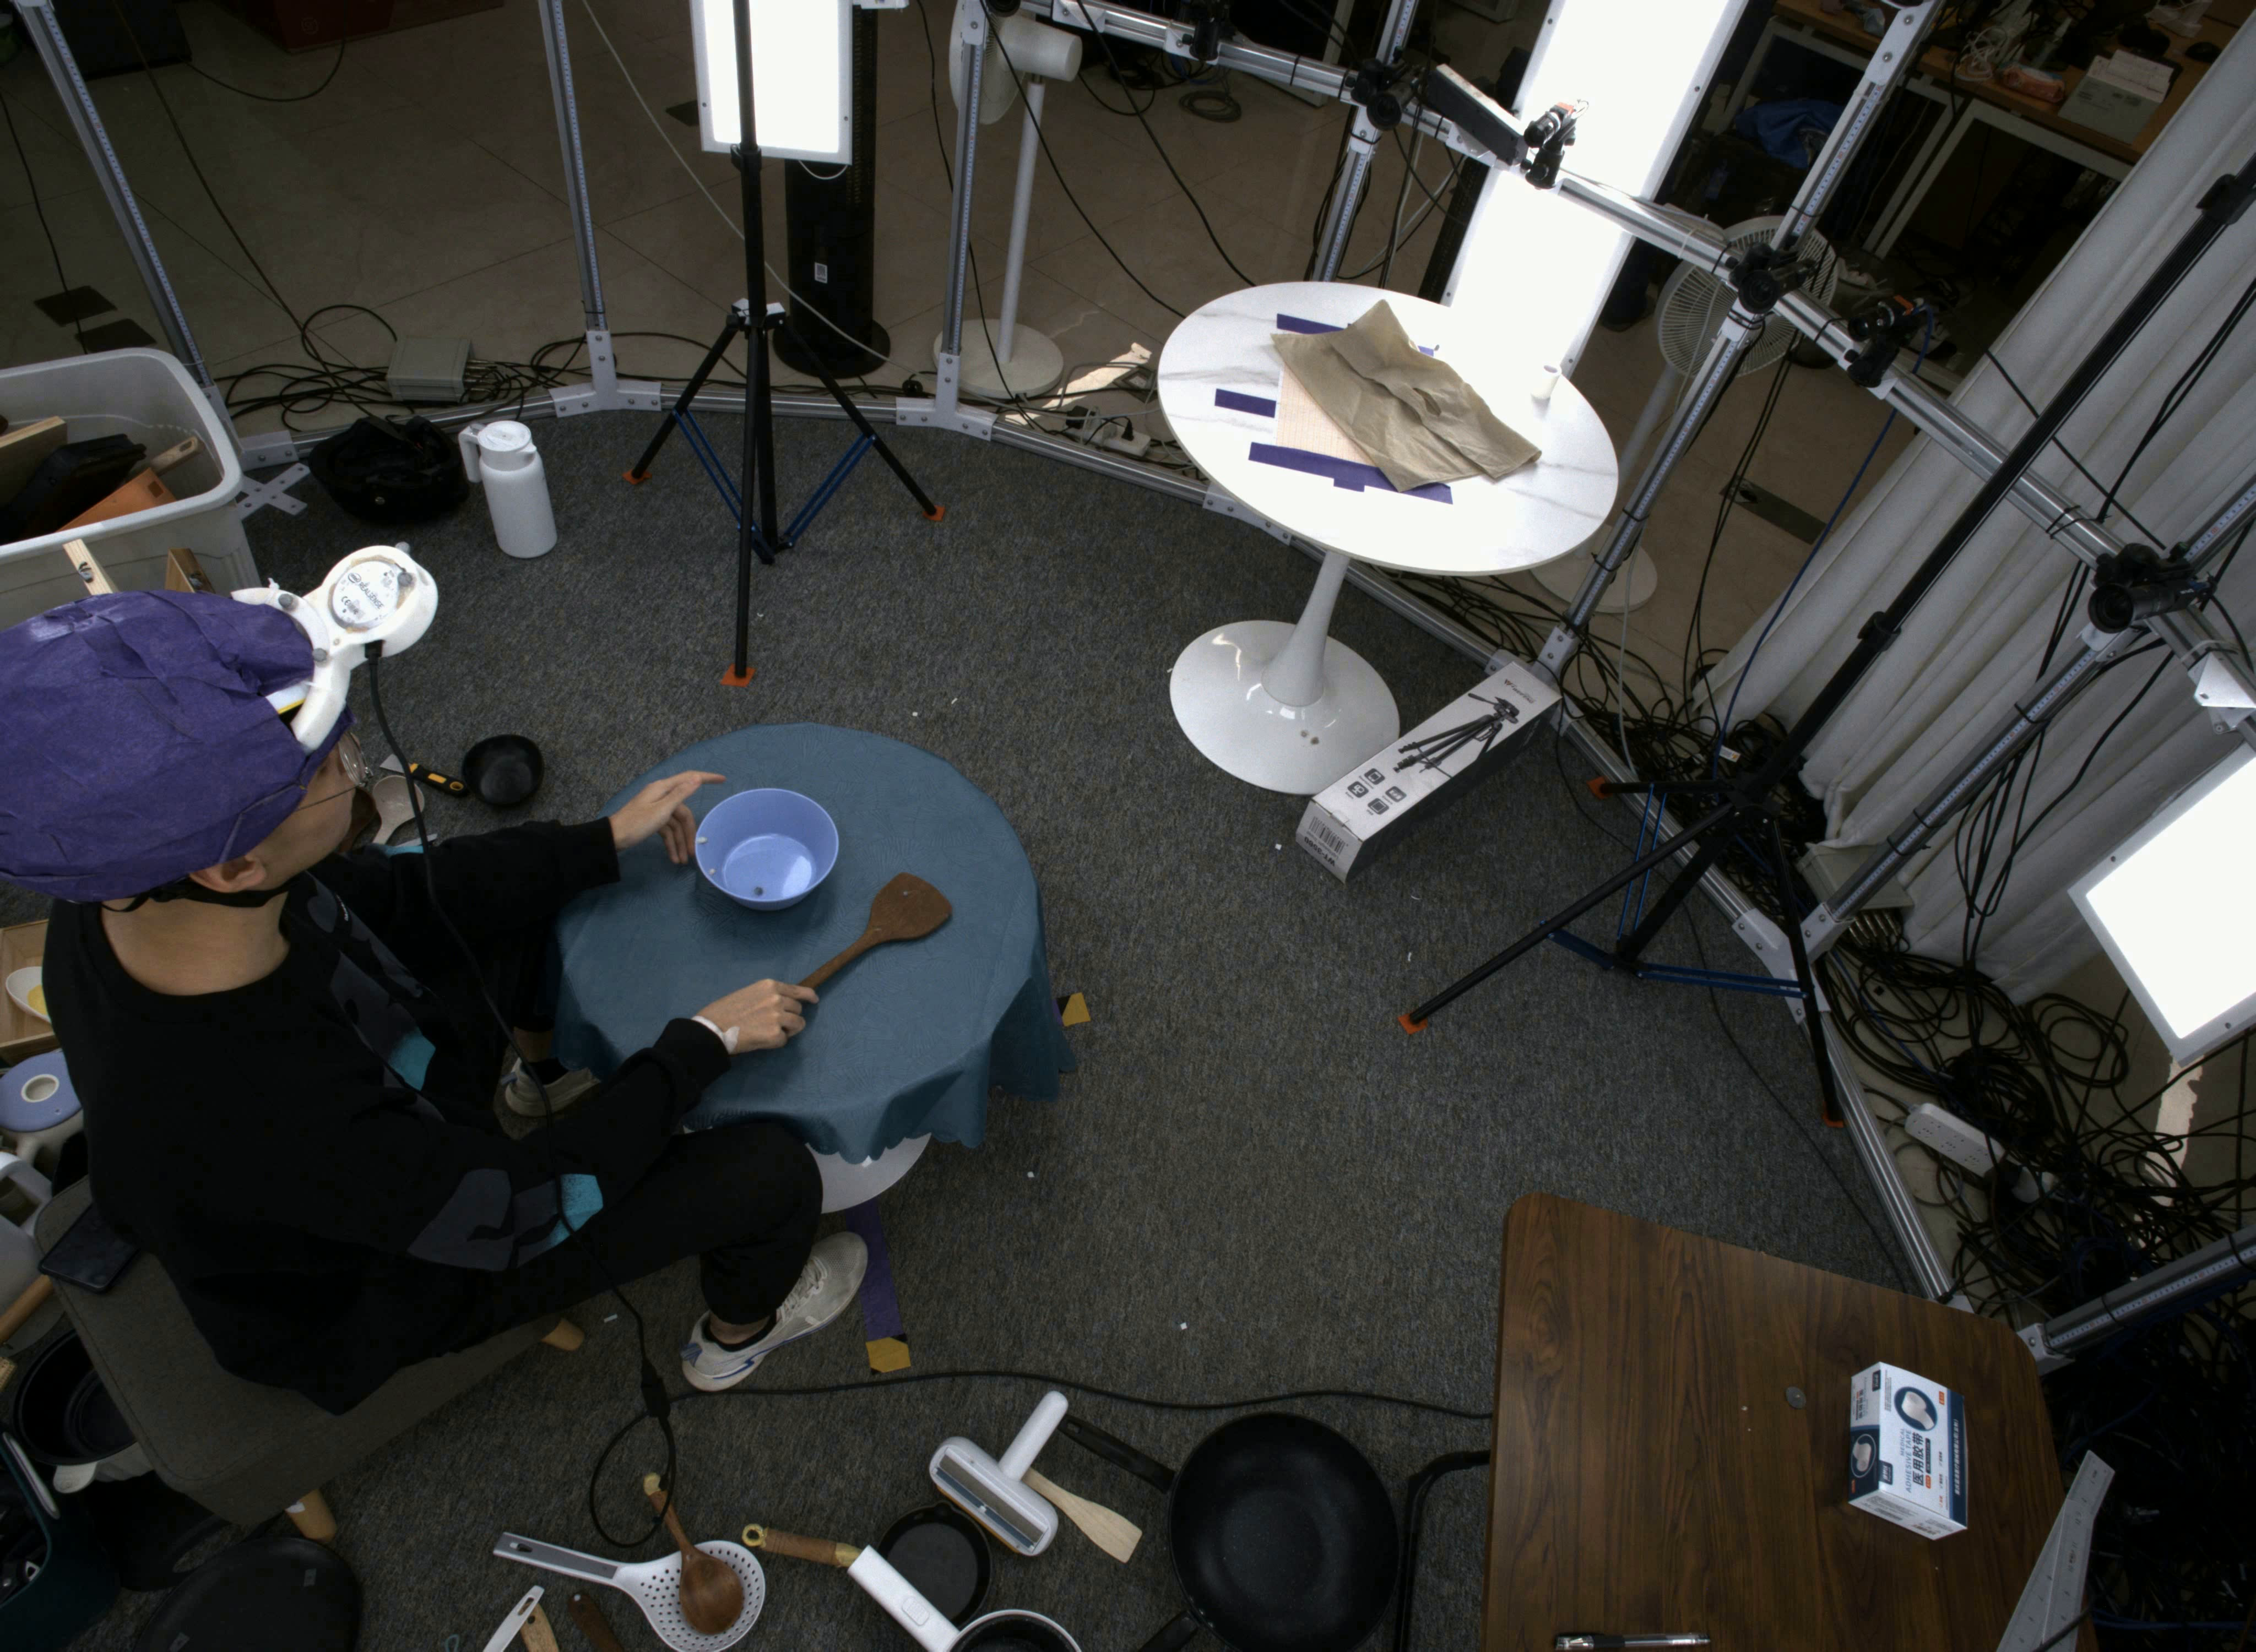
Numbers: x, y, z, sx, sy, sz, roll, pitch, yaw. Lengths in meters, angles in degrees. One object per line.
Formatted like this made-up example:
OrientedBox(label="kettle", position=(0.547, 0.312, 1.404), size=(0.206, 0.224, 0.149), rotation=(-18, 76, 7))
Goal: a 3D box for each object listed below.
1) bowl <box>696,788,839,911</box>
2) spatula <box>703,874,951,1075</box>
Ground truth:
OrientedBox(label="bowl", position=(-0.455, 0.040, 1.646), size=(0.175, 0.072, 0.173), rotation=(7, 53, -8))
OrientedBox(label="spatula", position=(-0.368, 0.176, 1.585), size=(0.094, 0.016, 0.386), rotation=(34, 47, 17))
